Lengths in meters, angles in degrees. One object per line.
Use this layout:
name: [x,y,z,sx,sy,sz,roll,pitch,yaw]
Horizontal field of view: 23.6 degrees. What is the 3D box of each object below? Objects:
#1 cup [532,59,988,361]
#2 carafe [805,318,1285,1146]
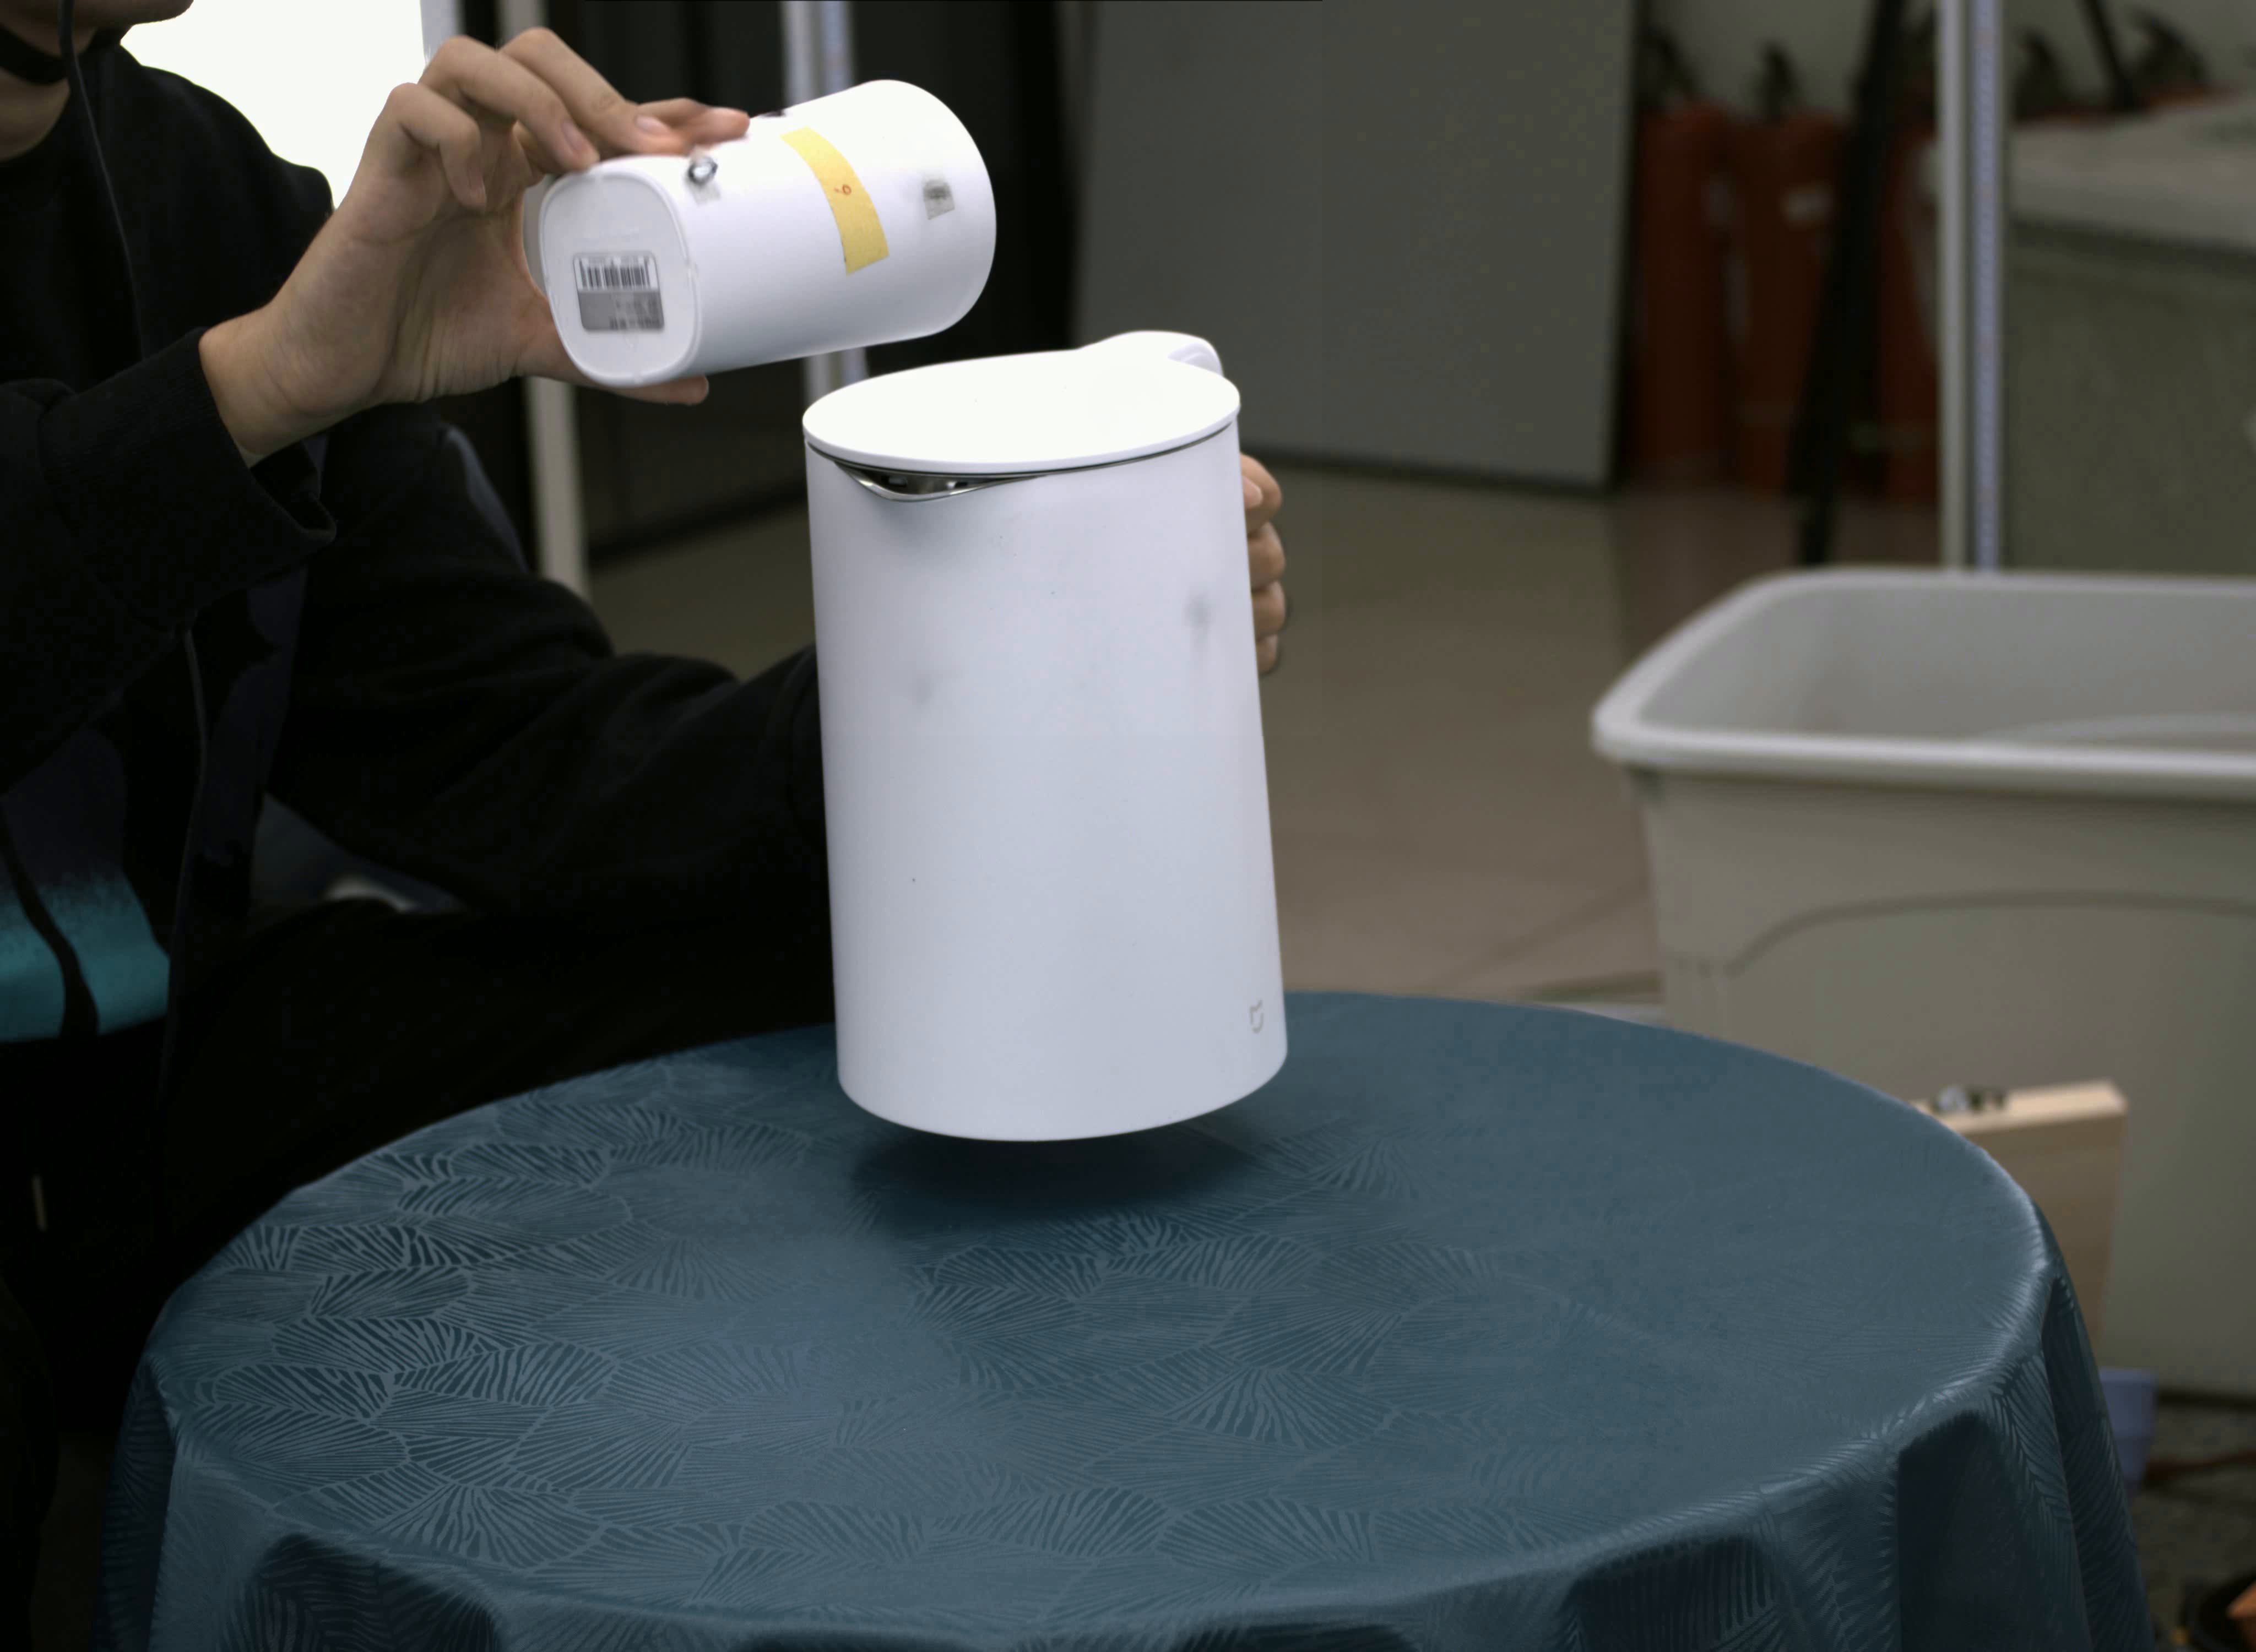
cup: [-0.112,-0.183,1.637,0.082,0.082,0.123,8,18,41]
carafe: [-0.016,-0.038,1.800,0.152,0.242,0.210,6,20,27]
